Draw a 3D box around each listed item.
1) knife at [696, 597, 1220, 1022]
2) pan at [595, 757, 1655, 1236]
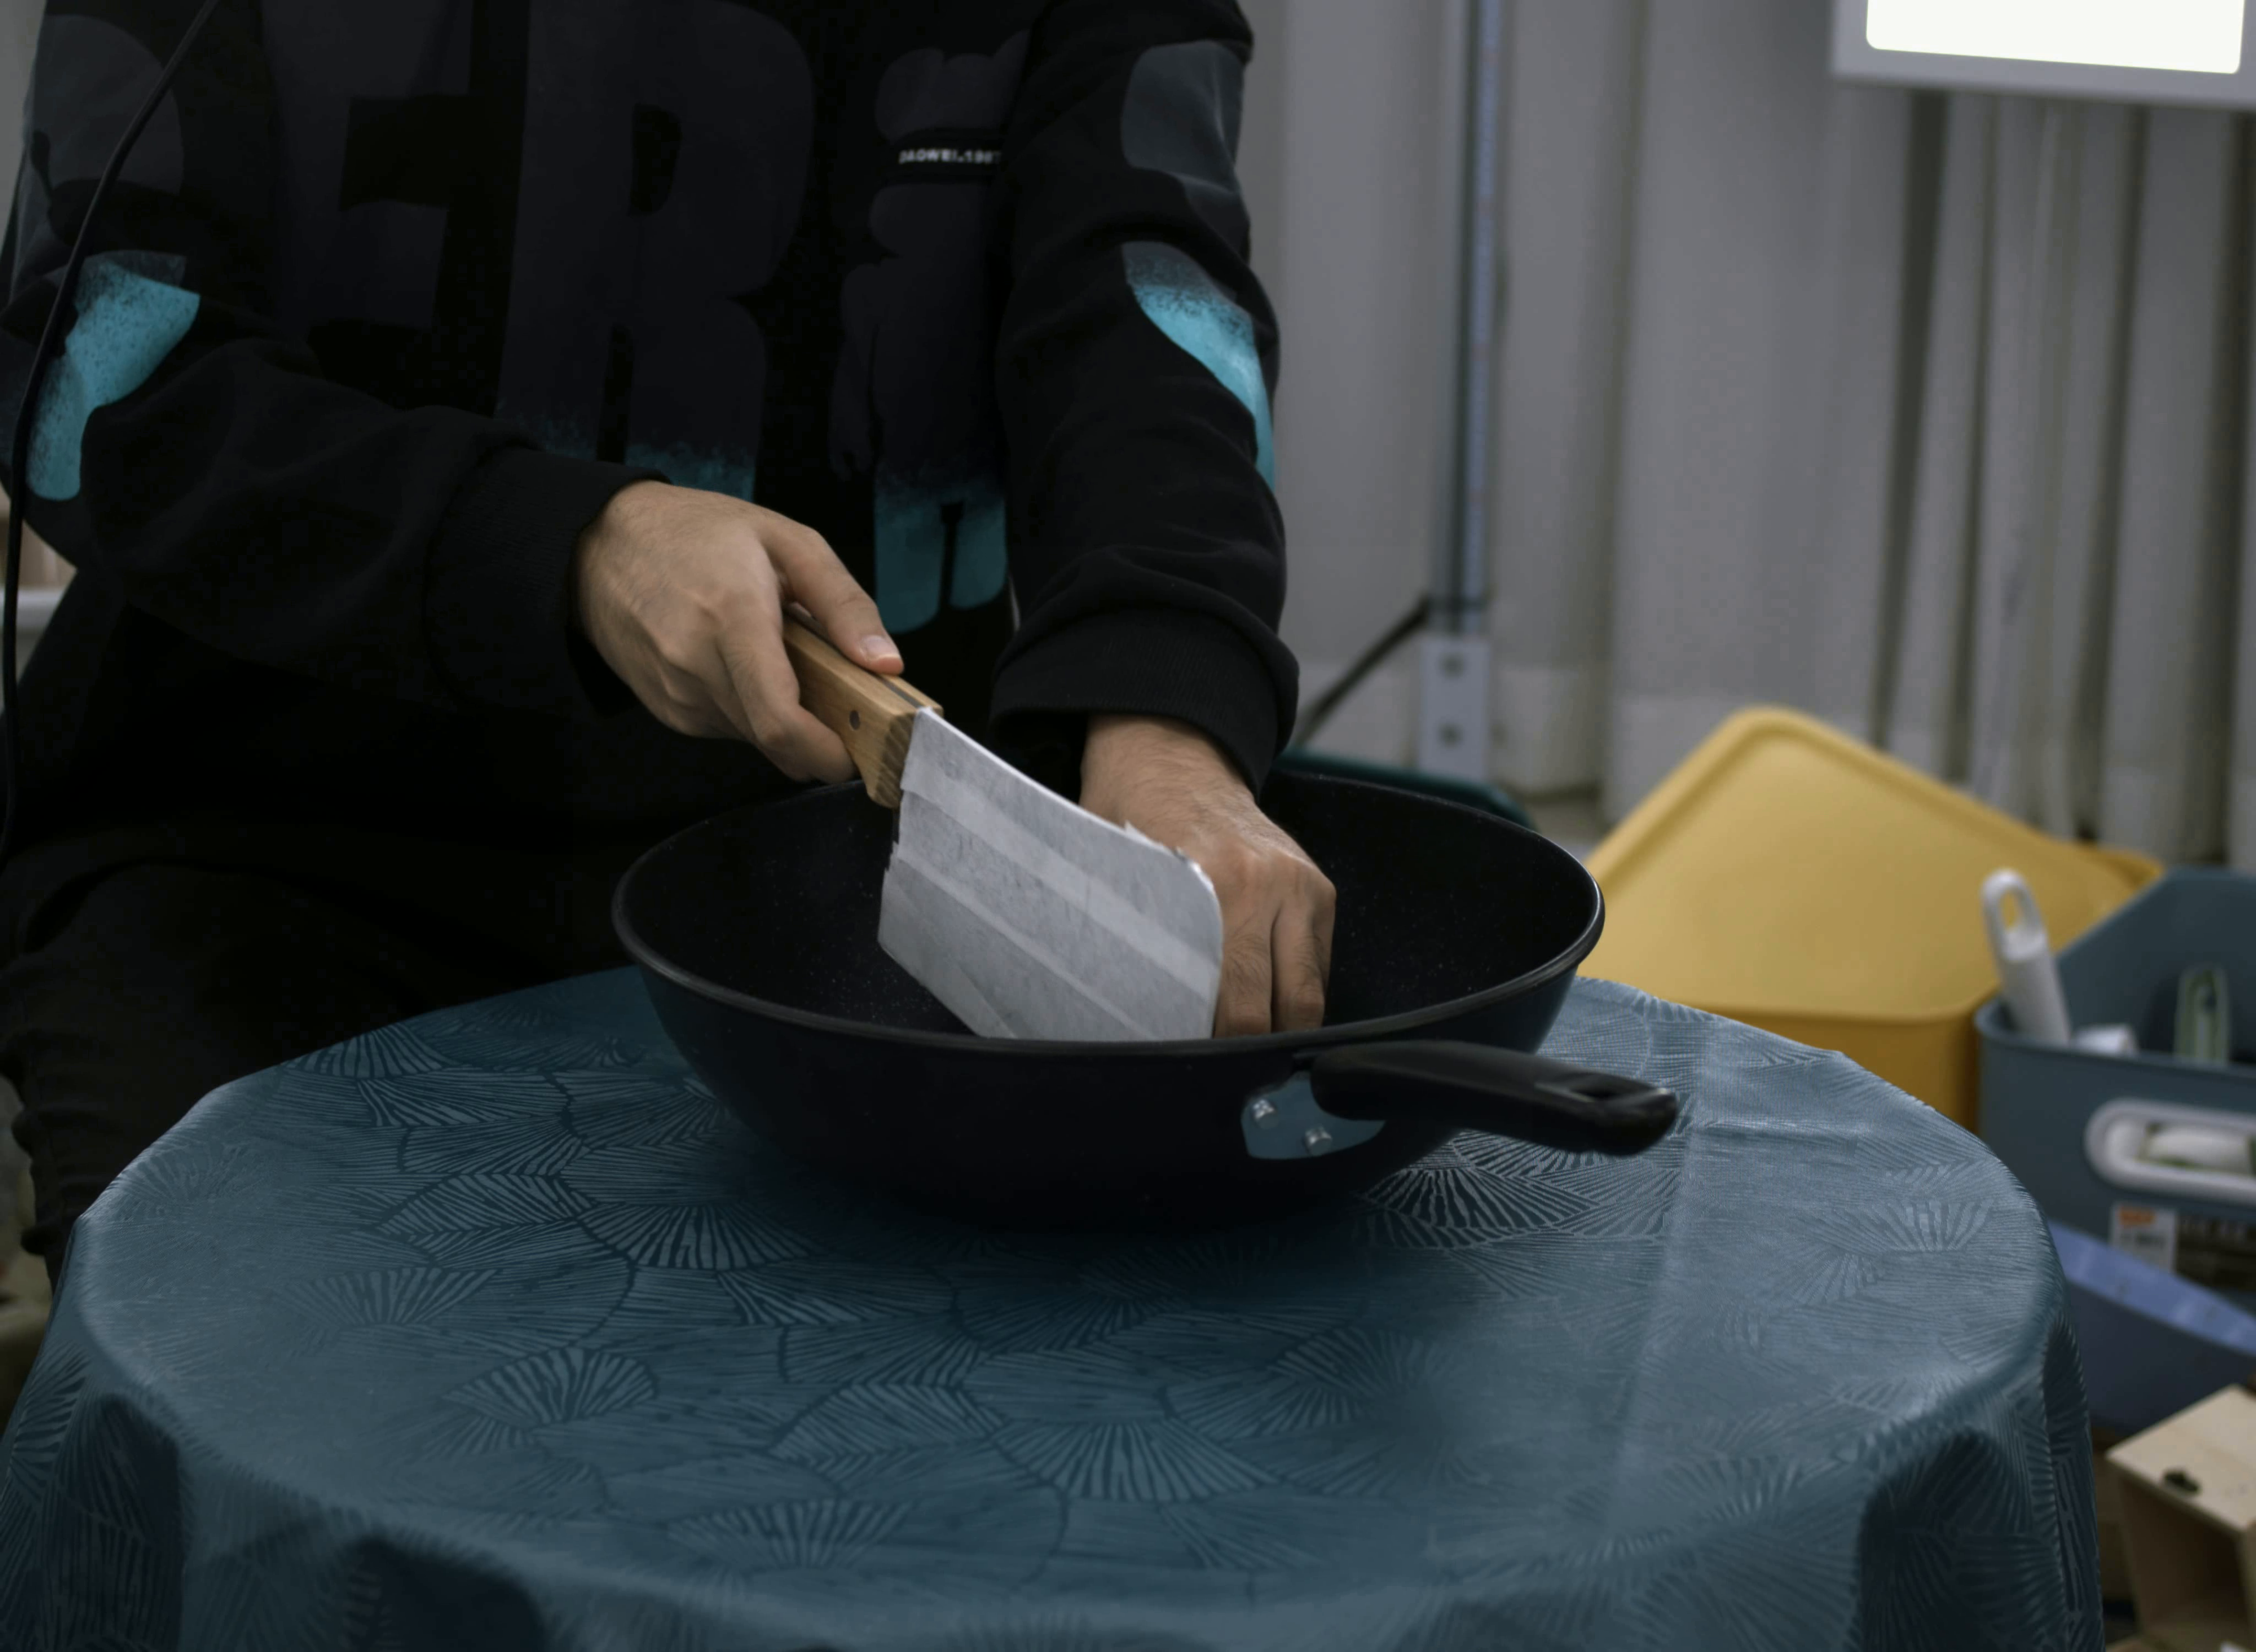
[{"bbox_3d":[-0.056,0.003,1.667,0.022,0.115,0.311,-6,30,-34],"label":"knife"},{"bbox_3d":[0.026,0.069,1.580,0.311,0.112,0.471,-9,18,-25],"label":"pan"}]
